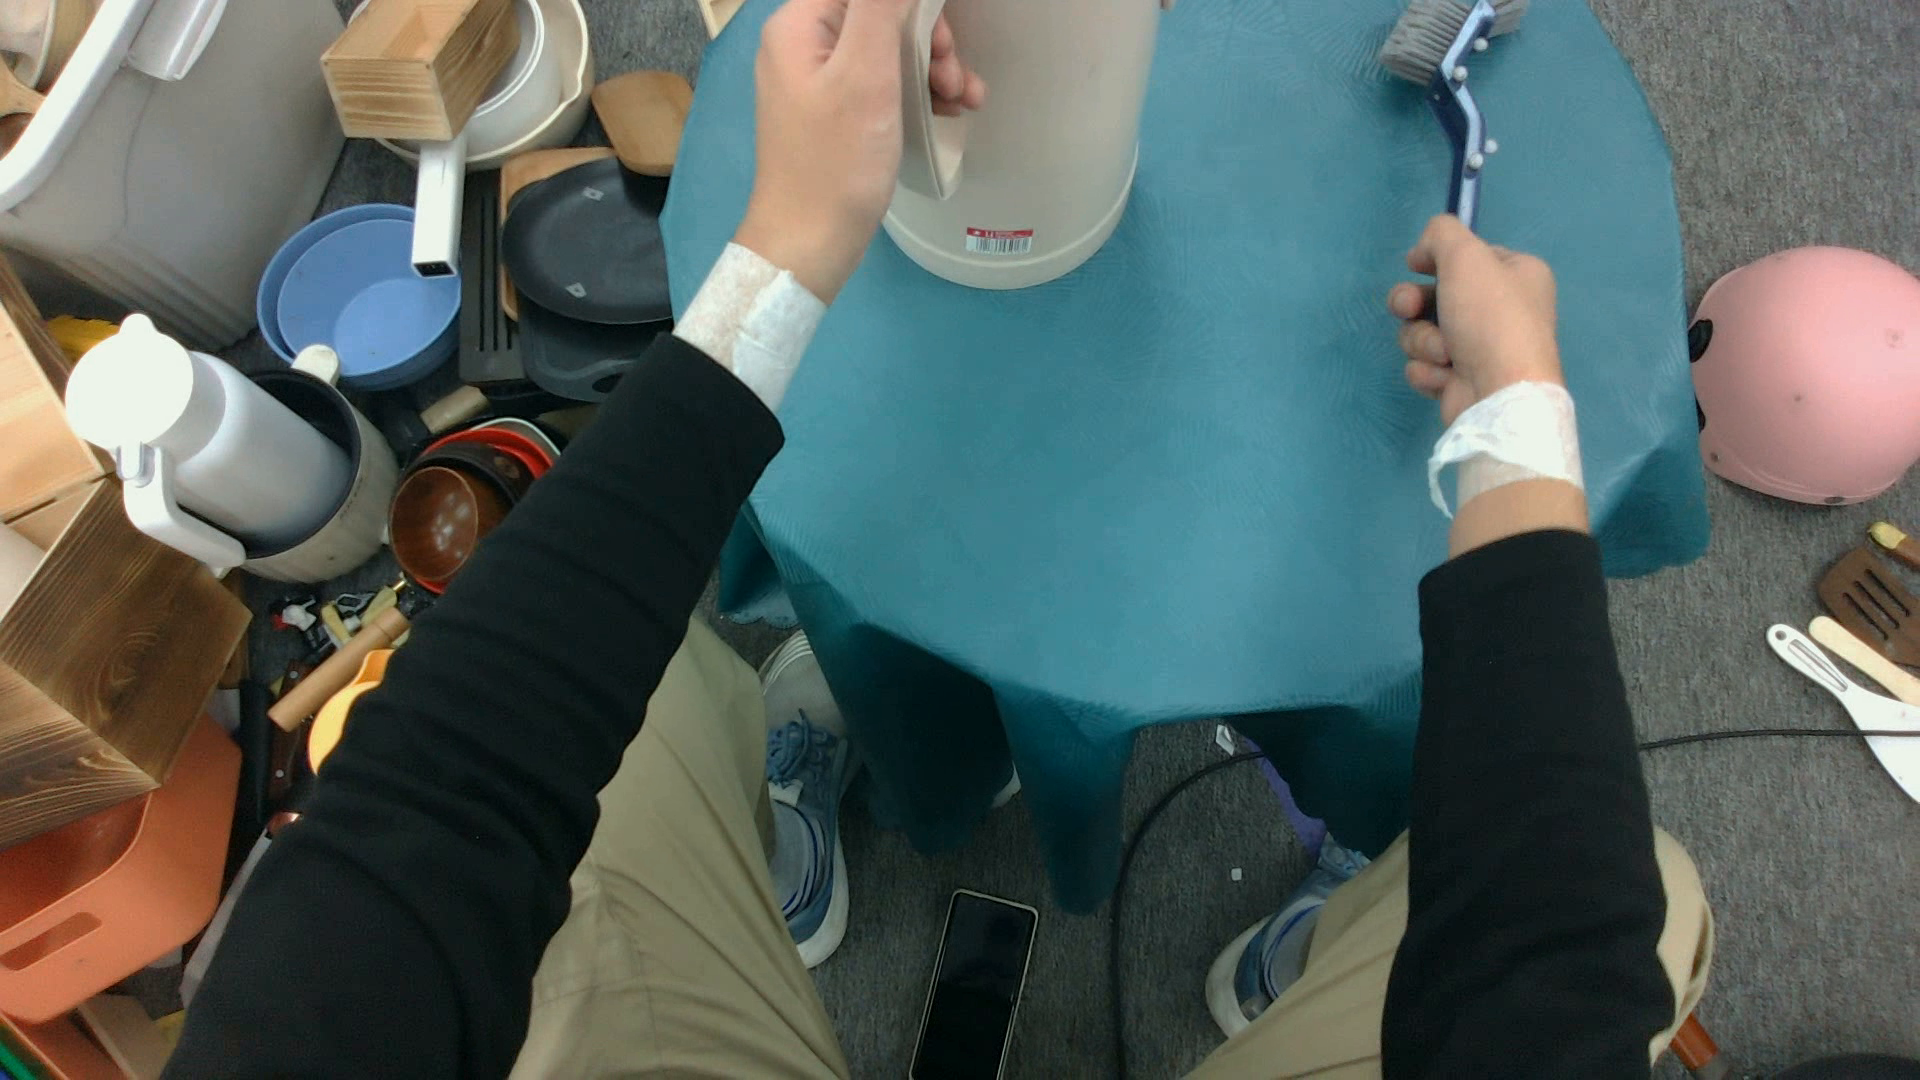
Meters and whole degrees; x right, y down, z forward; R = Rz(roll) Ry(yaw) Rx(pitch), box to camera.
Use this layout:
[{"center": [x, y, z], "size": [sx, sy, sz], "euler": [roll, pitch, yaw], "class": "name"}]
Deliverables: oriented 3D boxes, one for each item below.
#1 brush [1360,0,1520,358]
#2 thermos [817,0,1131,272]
[{"center": [0.273, -0.213, 0.762], "size": [0.096, 0.033, 0.274], "euler": [7, 60, 1], "class": "brush"}, {"center": [0.001, -0.272, 0.633], "size": [0.175, 0.405, 0.207], "euler": [22, 75, 4], "class": "thermos"}]
